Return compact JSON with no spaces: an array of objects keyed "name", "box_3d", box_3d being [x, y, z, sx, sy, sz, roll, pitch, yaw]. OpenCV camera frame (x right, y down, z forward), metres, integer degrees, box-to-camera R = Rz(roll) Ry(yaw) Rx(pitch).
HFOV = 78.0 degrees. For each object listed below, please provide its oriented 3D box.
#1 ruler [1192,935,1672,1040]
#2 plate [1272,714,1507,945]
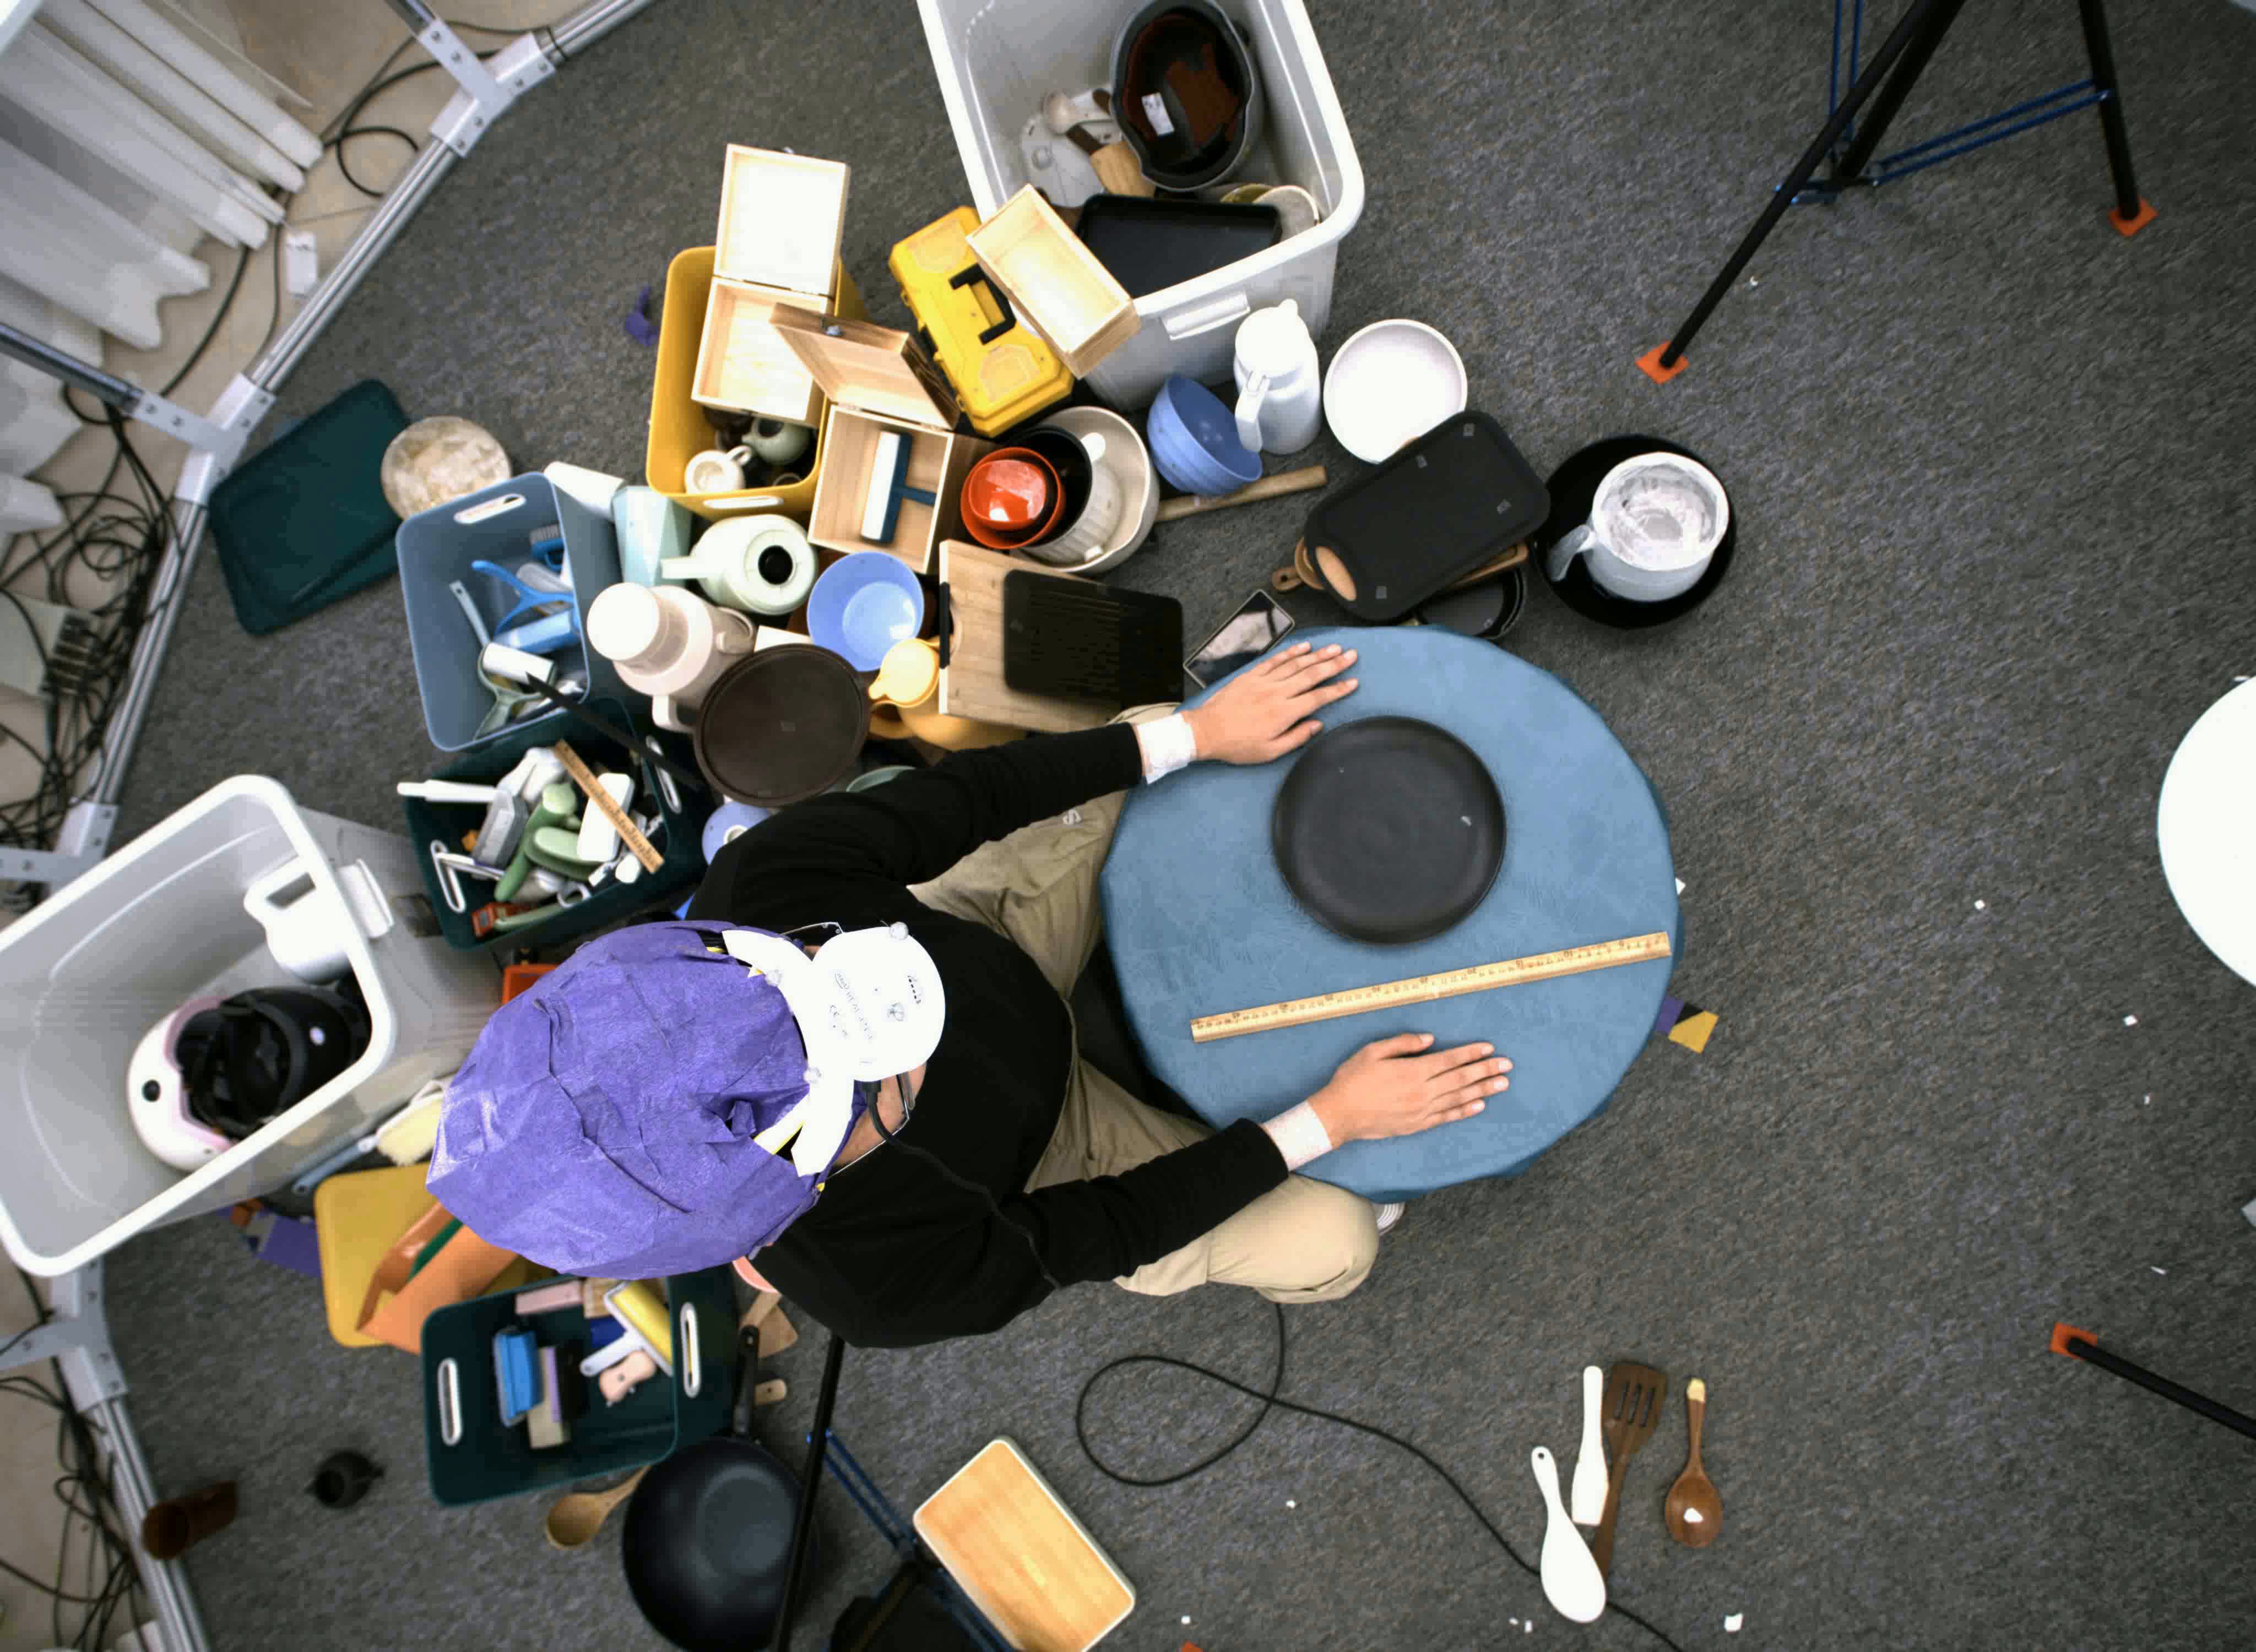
[{"name":"ruler","box_3d":[0.312,0.167,1.445,0.503,0.006,0.026,-11,83,10]},{"name":"plate","box_3d":[0.274,0.003,1.451,0.245,0.023,0.243,-1,87,11]}]
